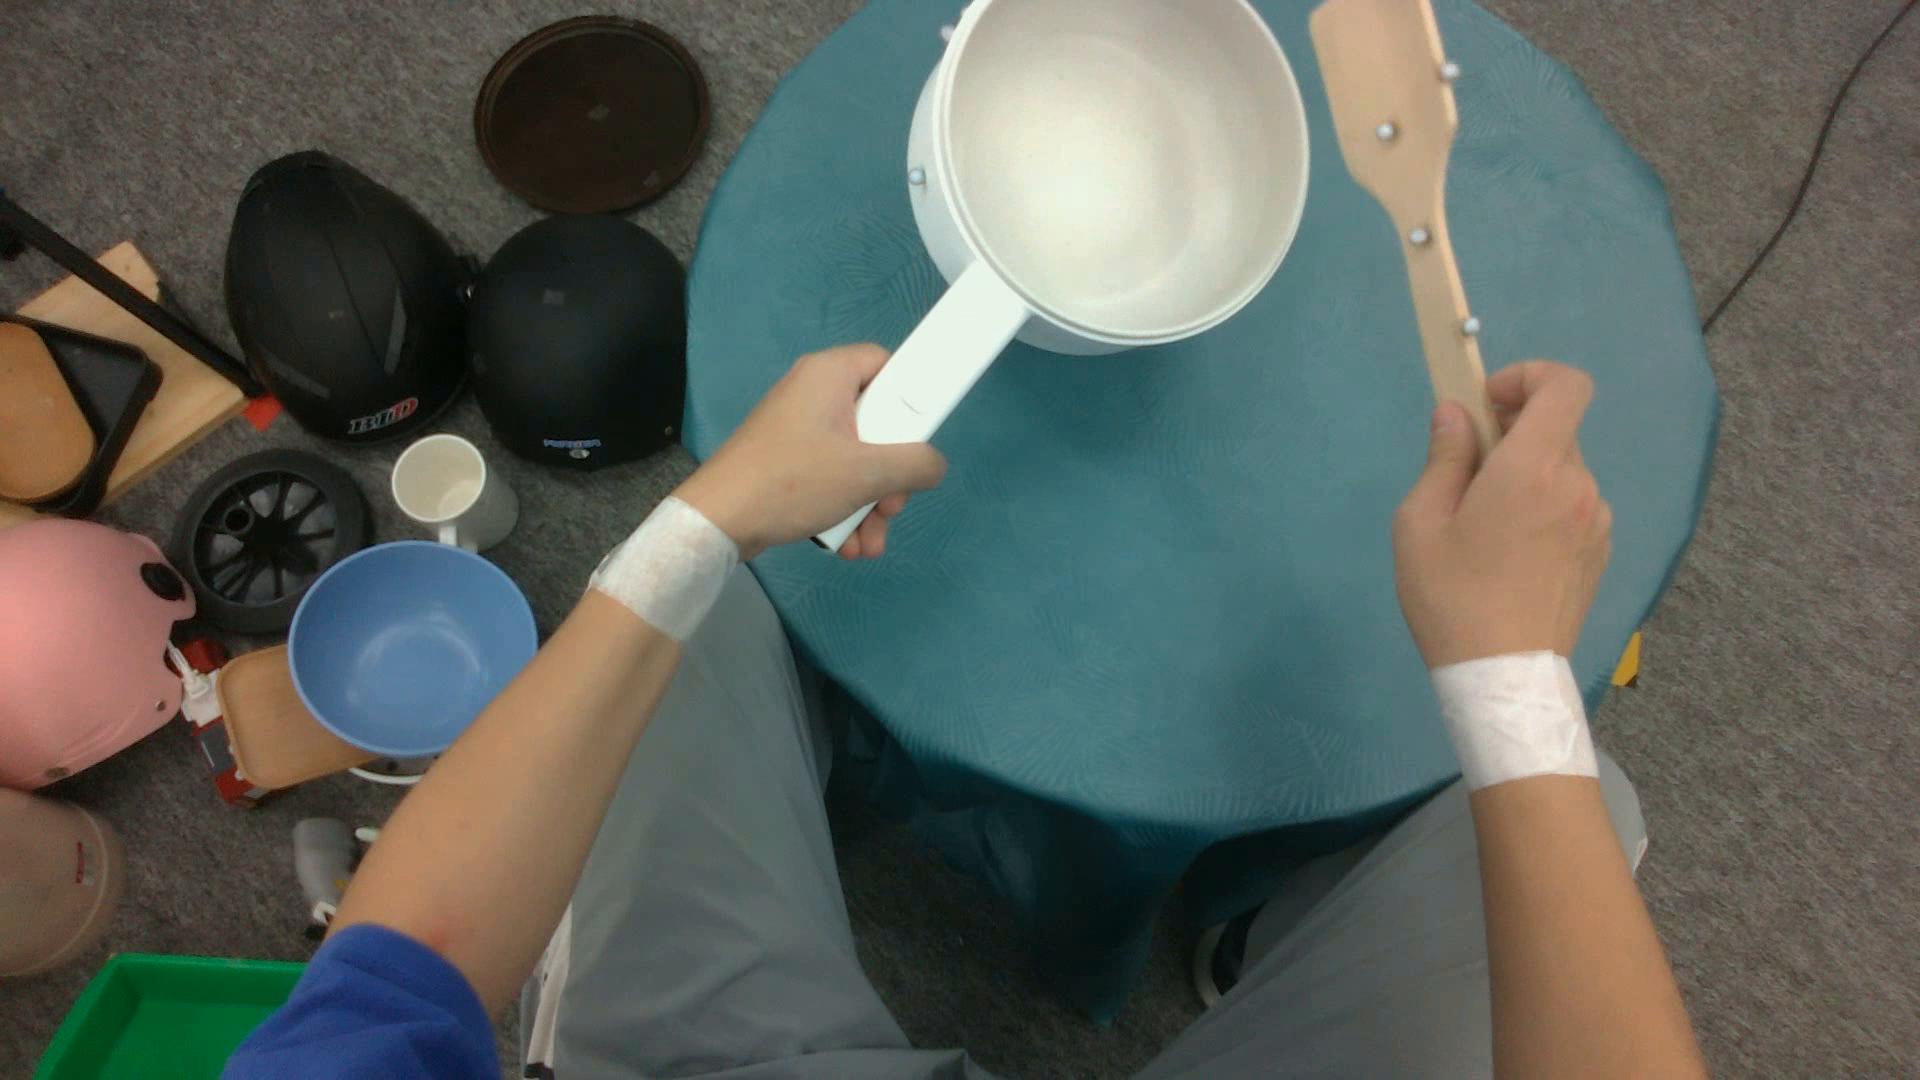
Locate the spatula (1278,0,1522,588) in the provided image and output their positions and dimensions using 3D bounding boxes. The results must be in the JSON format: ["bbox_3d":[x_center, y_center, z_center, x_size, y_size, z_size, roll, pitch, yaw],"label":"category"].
[{"bbox_3d":[0.210,-0.119,0.638,0.011,0.072,0.293,-15,87,-21],"label":"spatula"}]

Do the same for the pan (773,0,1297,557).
[{"bbox_3d":[0.024,-0.139,0.727,0.201,0.102,0.355,40,79,-14],"label":"pan"}]
